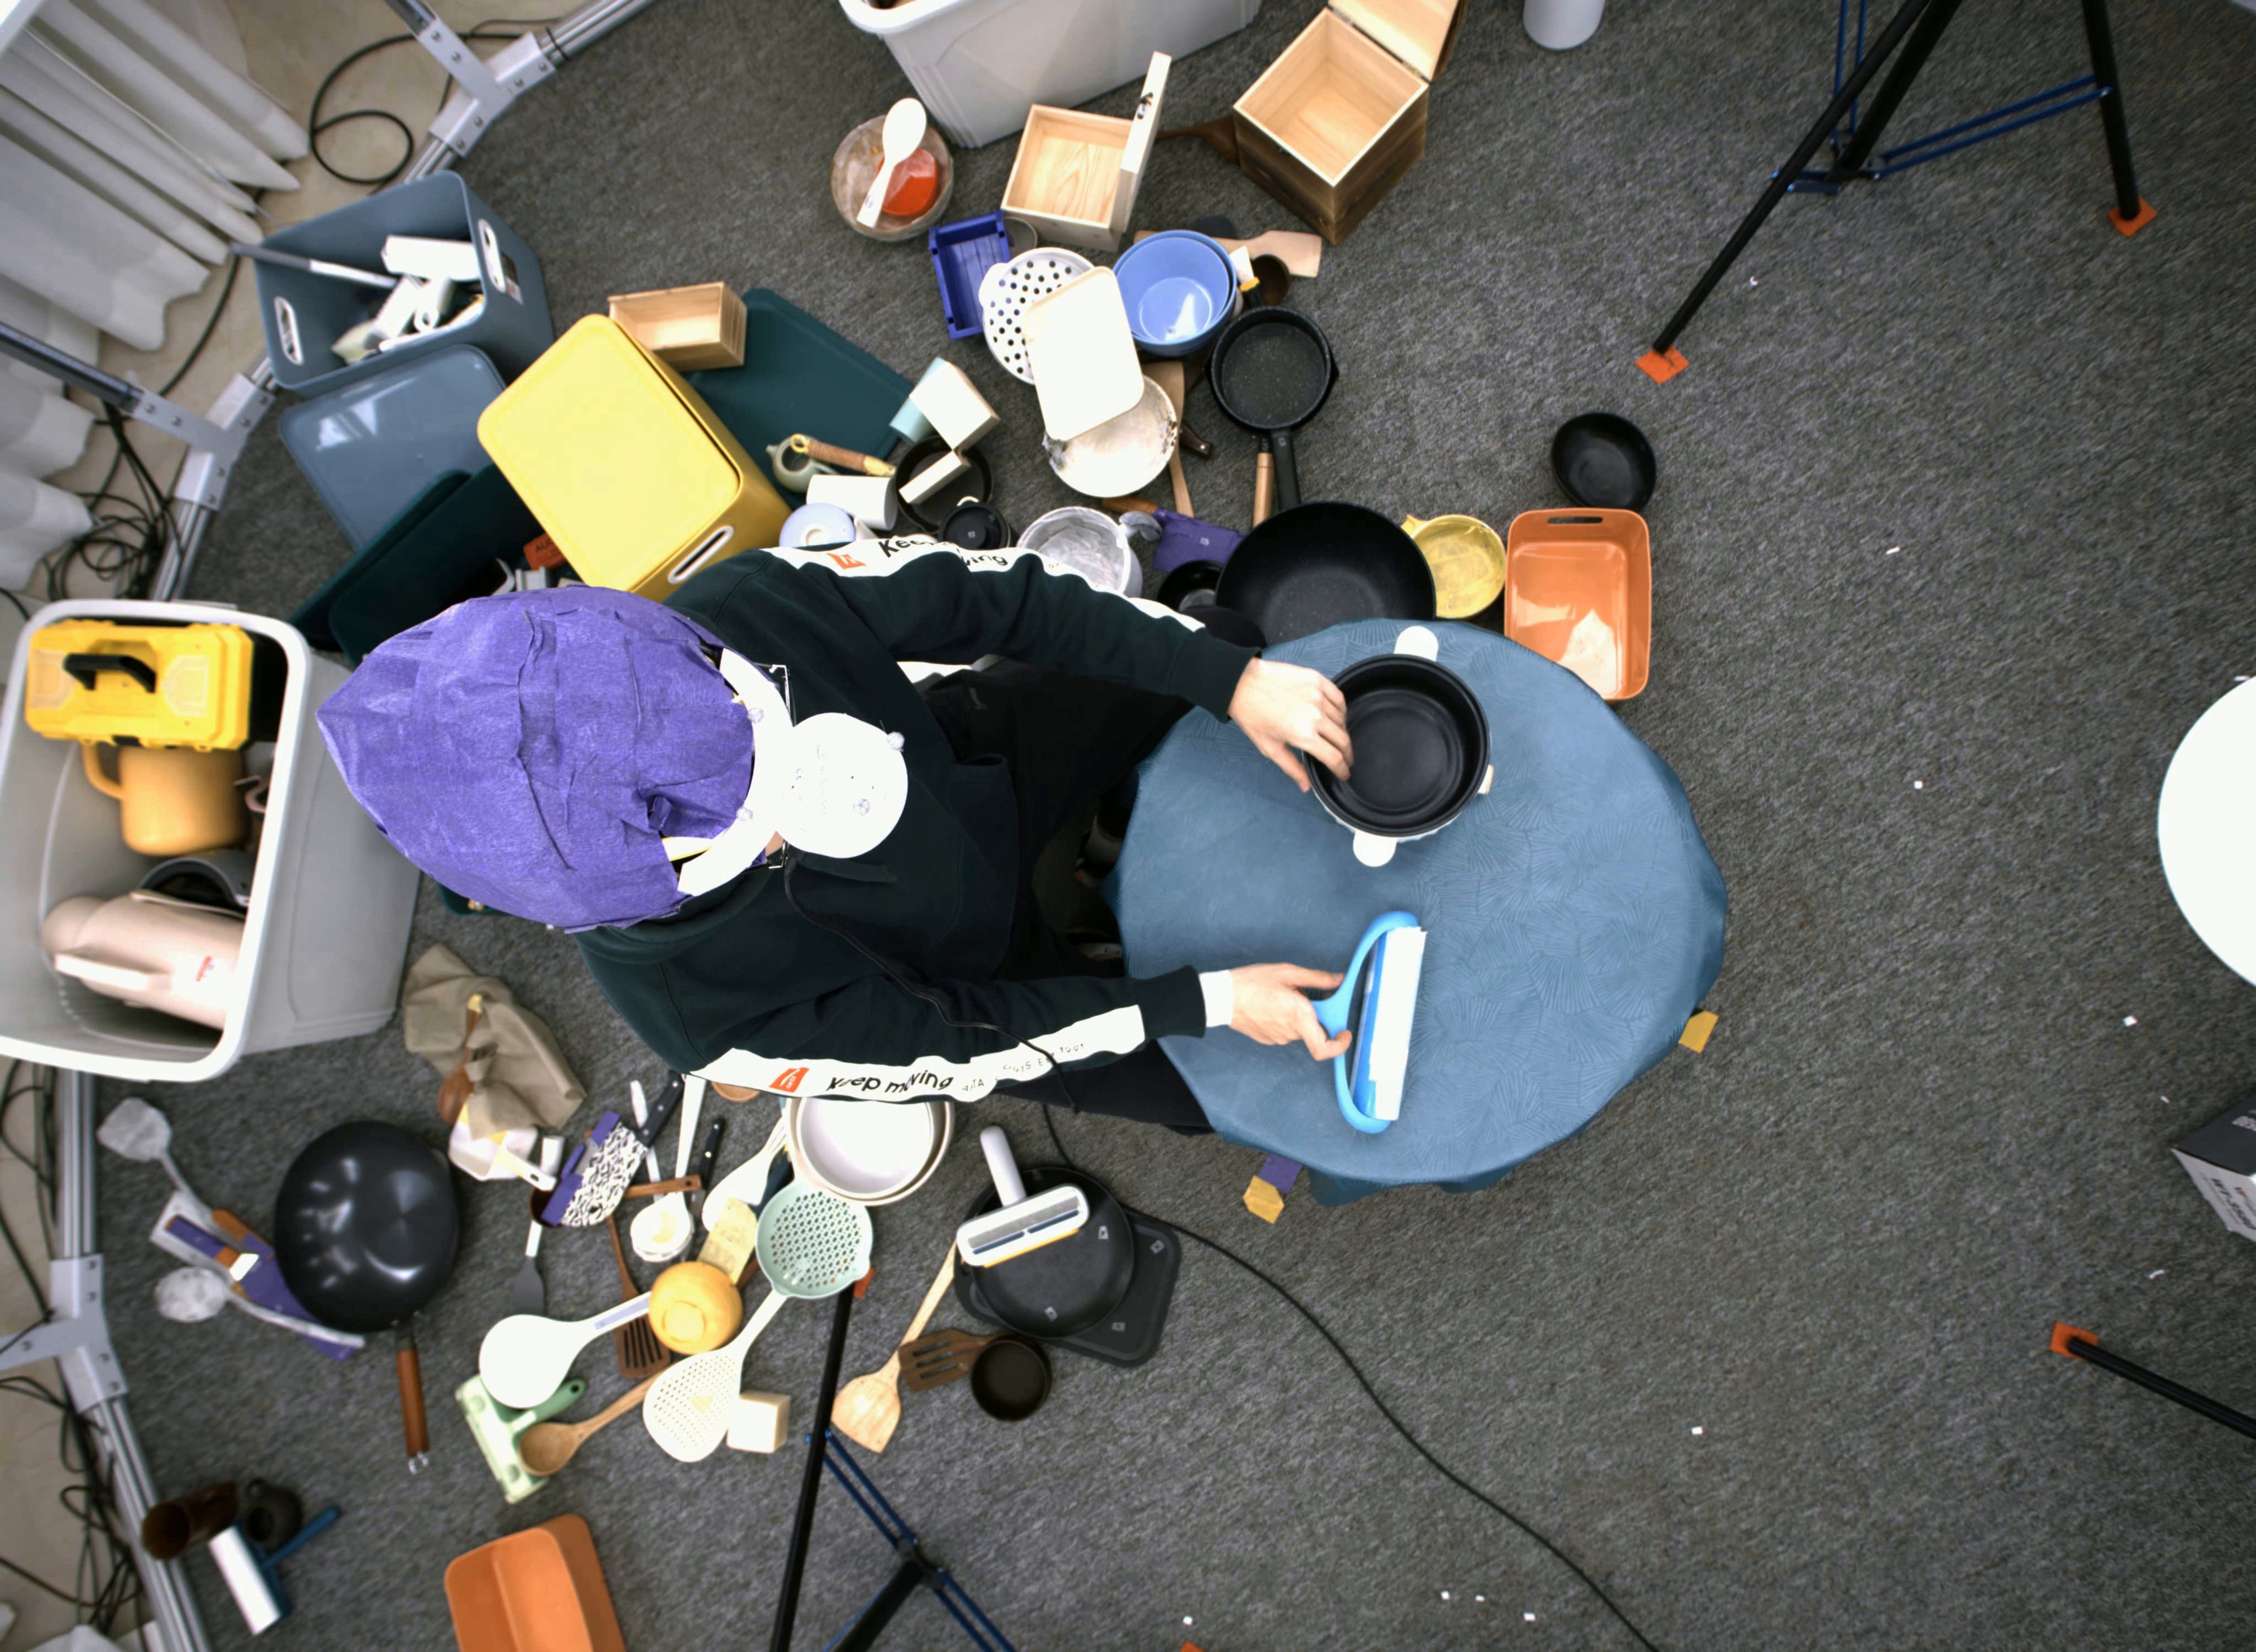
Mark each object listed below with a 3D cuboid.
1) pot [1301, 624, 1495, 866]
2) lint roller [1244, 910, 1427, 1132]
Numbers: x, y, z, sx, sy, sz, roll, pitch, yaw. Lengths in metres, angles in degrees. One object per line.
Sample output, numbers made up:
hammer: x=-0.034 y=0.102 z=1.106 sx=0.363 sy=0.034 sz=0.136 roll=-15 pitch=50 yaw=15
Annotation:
pot: x=0.275 y=-0.075 z=1.391 sx=0.191 sy=0.142 sz=0.240 roll=11 pitch=90 yaw=14
lint roller: x=0.211 y=0.194 z=1.424 sx=0.180 sy=0.068 sz=0.229 roll=5 pitch=91 yaw=1
